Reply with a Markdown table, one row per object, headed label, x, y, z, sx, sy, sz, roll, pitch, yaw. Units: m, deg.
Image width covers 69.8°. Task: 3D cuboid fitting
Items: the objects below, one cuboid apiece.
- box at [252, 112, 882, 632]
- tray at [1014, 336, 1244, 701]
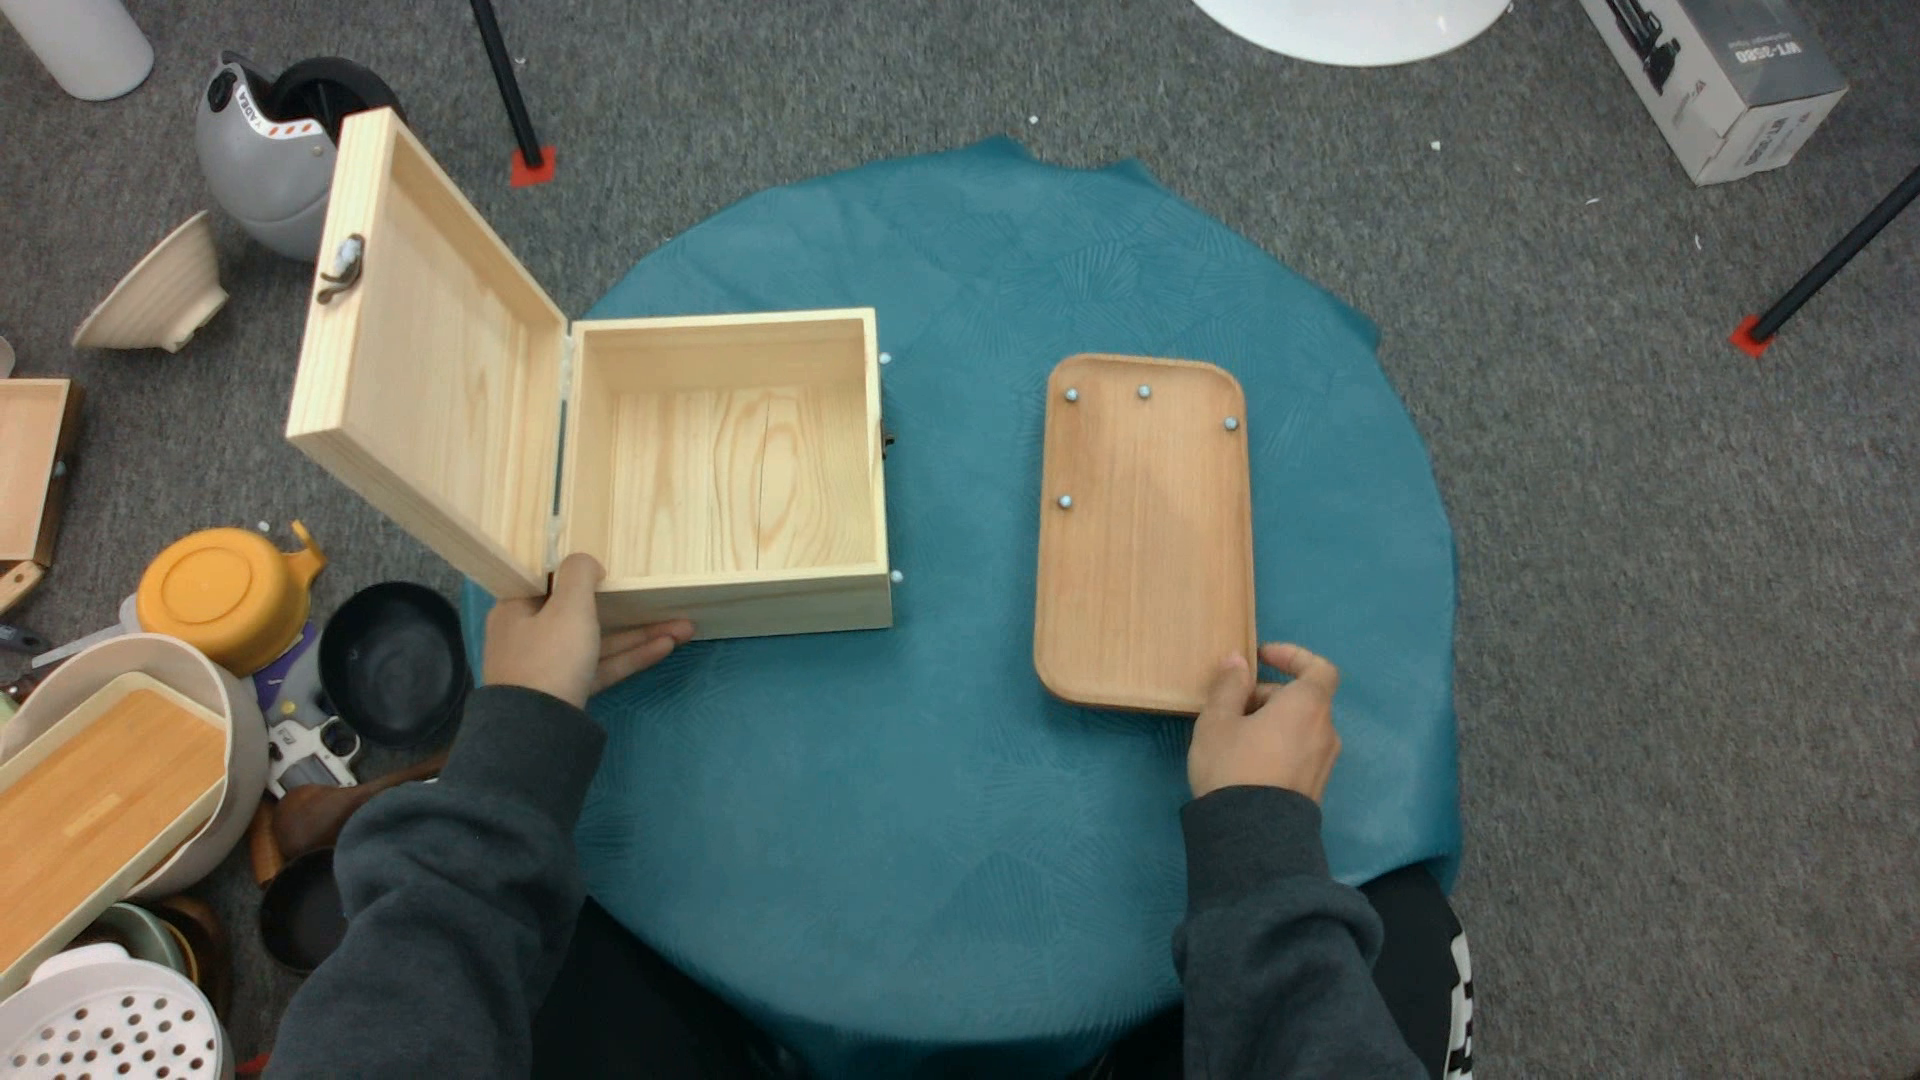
| label | x | y | z | sx | sy | sz | roll | pitch | yaw |
| --- | --- | --- | --- | --- | --- | --- | --- | --- | --- |
| box | -0.178 | -0.083 | 0.736 | 0.265 | 0.252 | 0.182 | -5 | 66 | -2 |
| tray | 0.102 | -0.020 | 0.824 | 0.130 | 0.023 | 0.252 | 3 | 58 | 4 |
